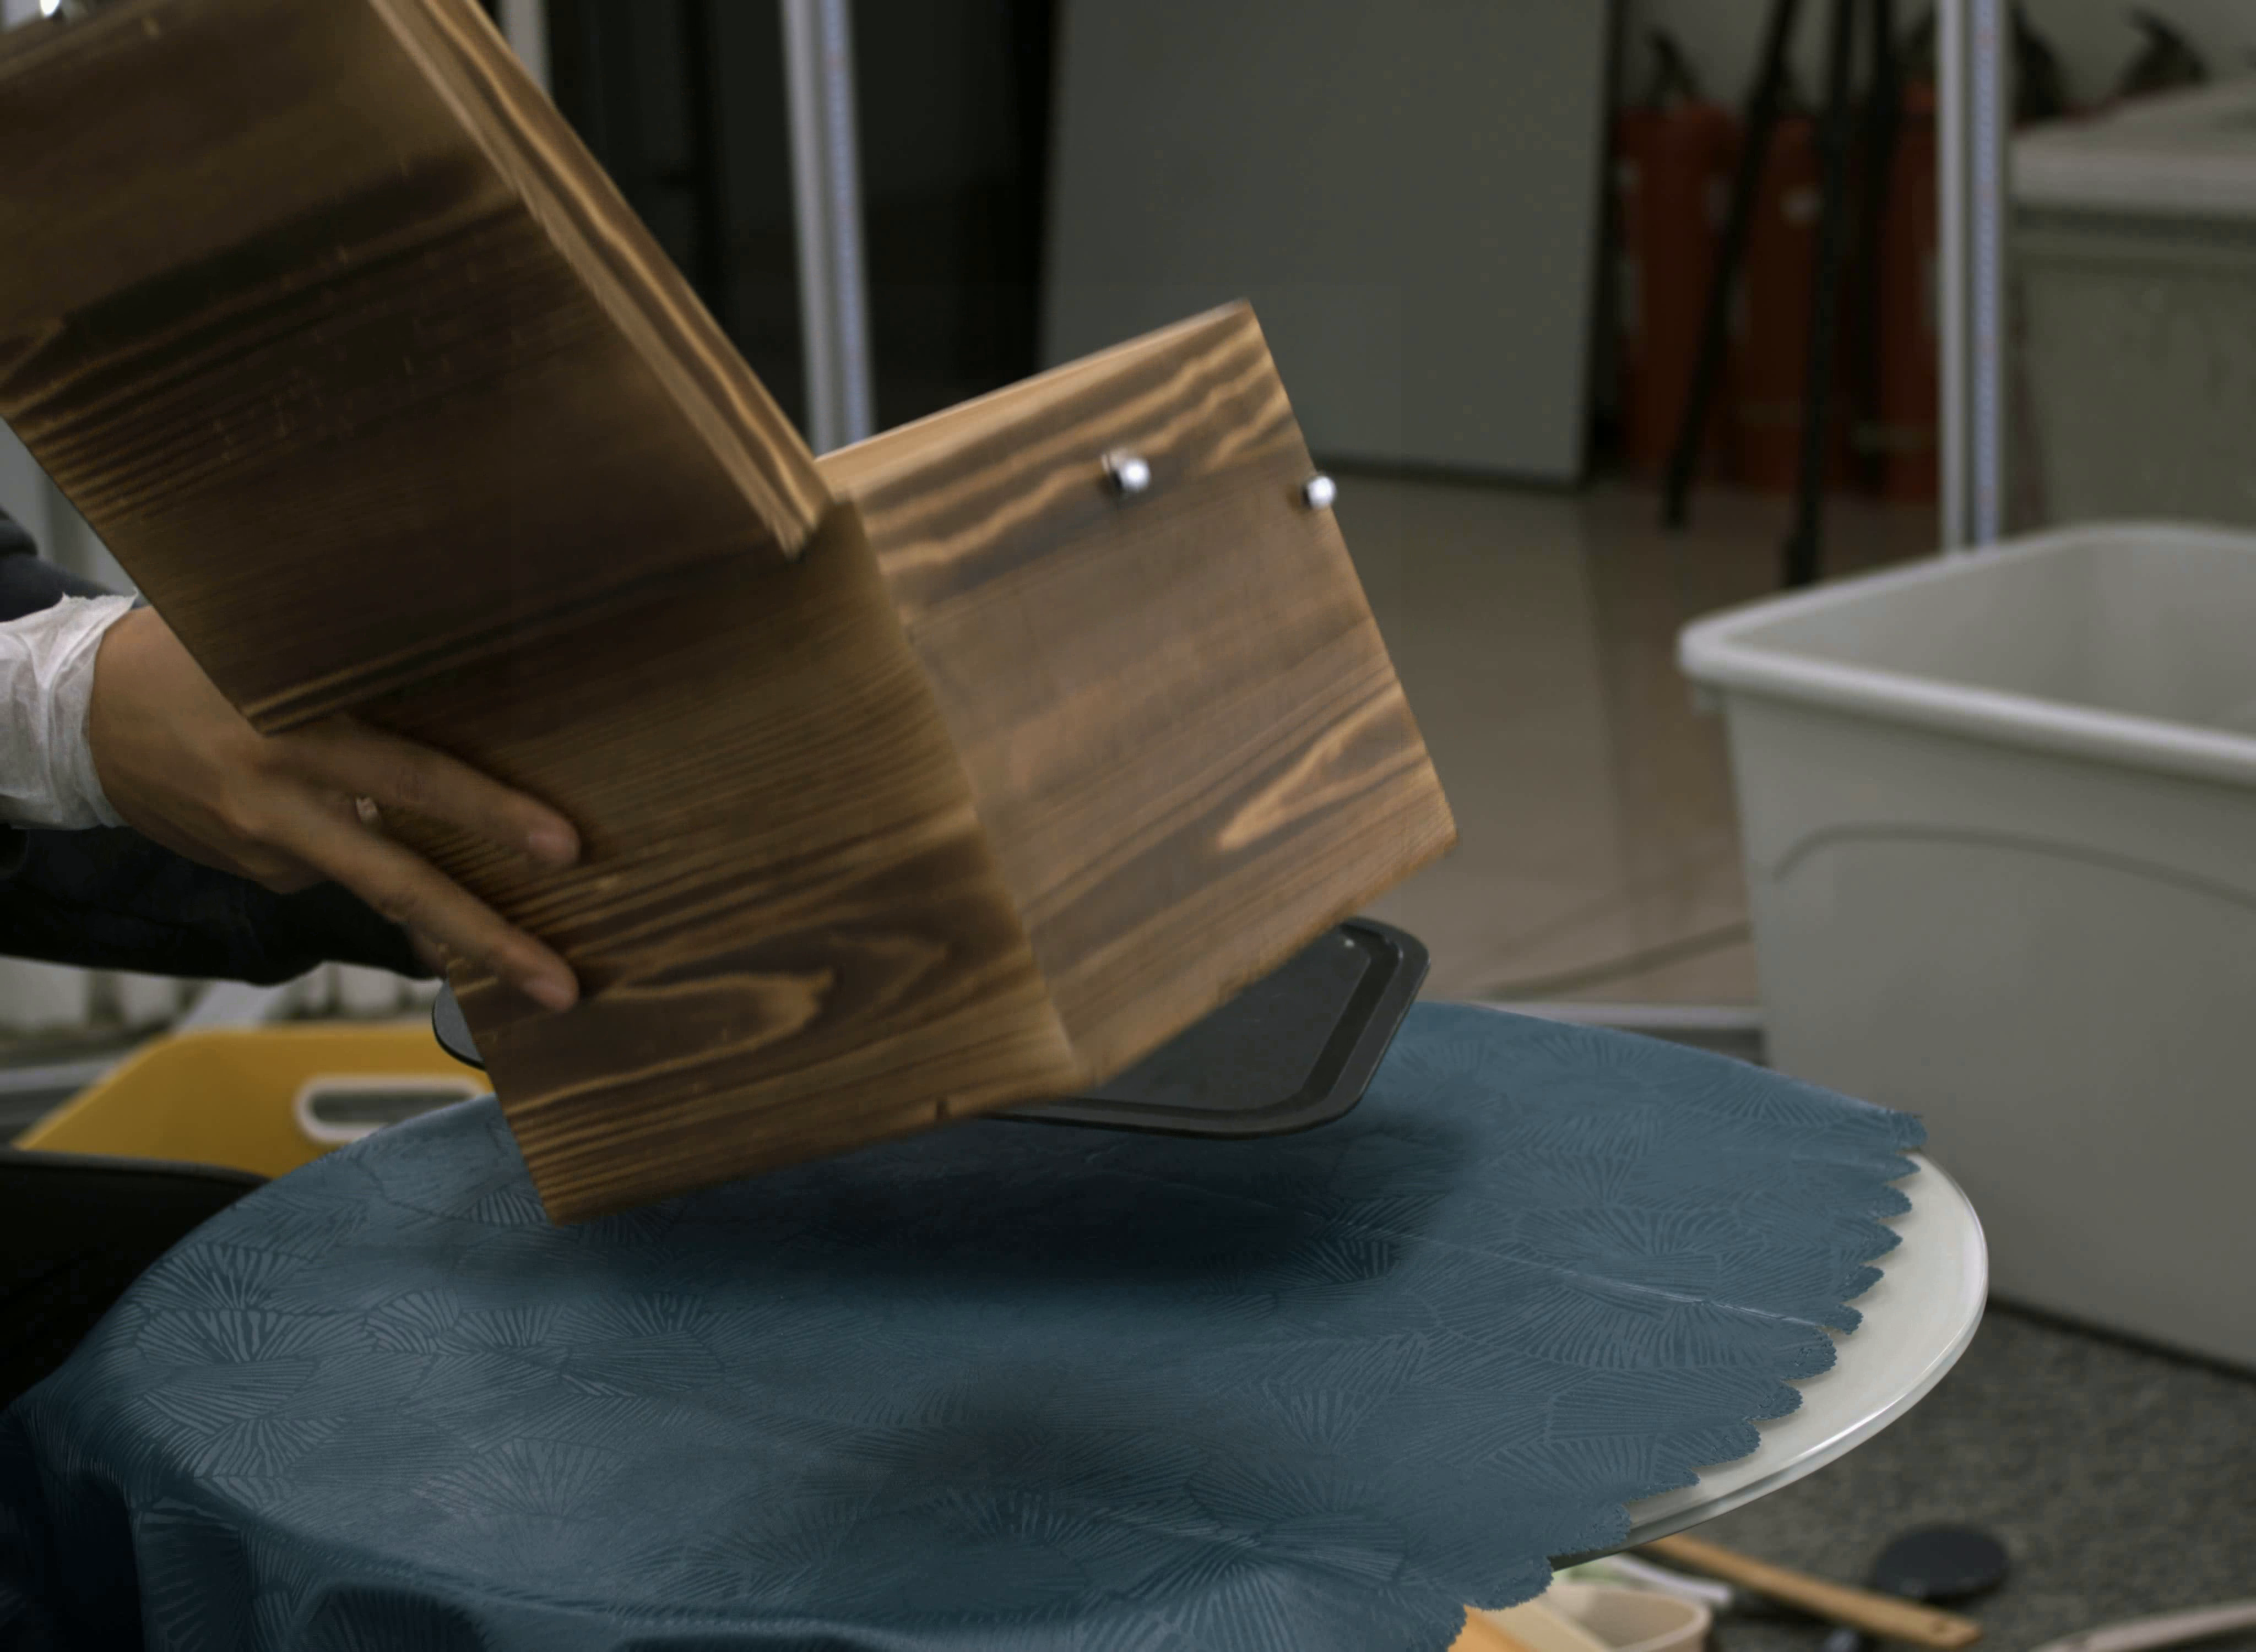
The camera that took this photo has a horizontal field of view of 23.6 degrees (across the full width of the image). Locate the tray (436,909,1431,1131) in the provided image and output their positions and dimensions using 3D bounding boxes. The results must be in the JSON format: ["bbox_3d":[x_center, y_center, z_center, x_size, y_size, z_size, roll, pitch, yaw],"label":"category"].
[{"bbox_3d":[-0.068,0.054,1.791,0.324,0.010,0.210,4,18,13],"label":"tray"}]

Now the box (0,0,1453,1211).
[{"bbox_3d":[-0.124,-0.099,1.455,0.210,0.378,0.317,-18,7,37],"label":"box"}]
